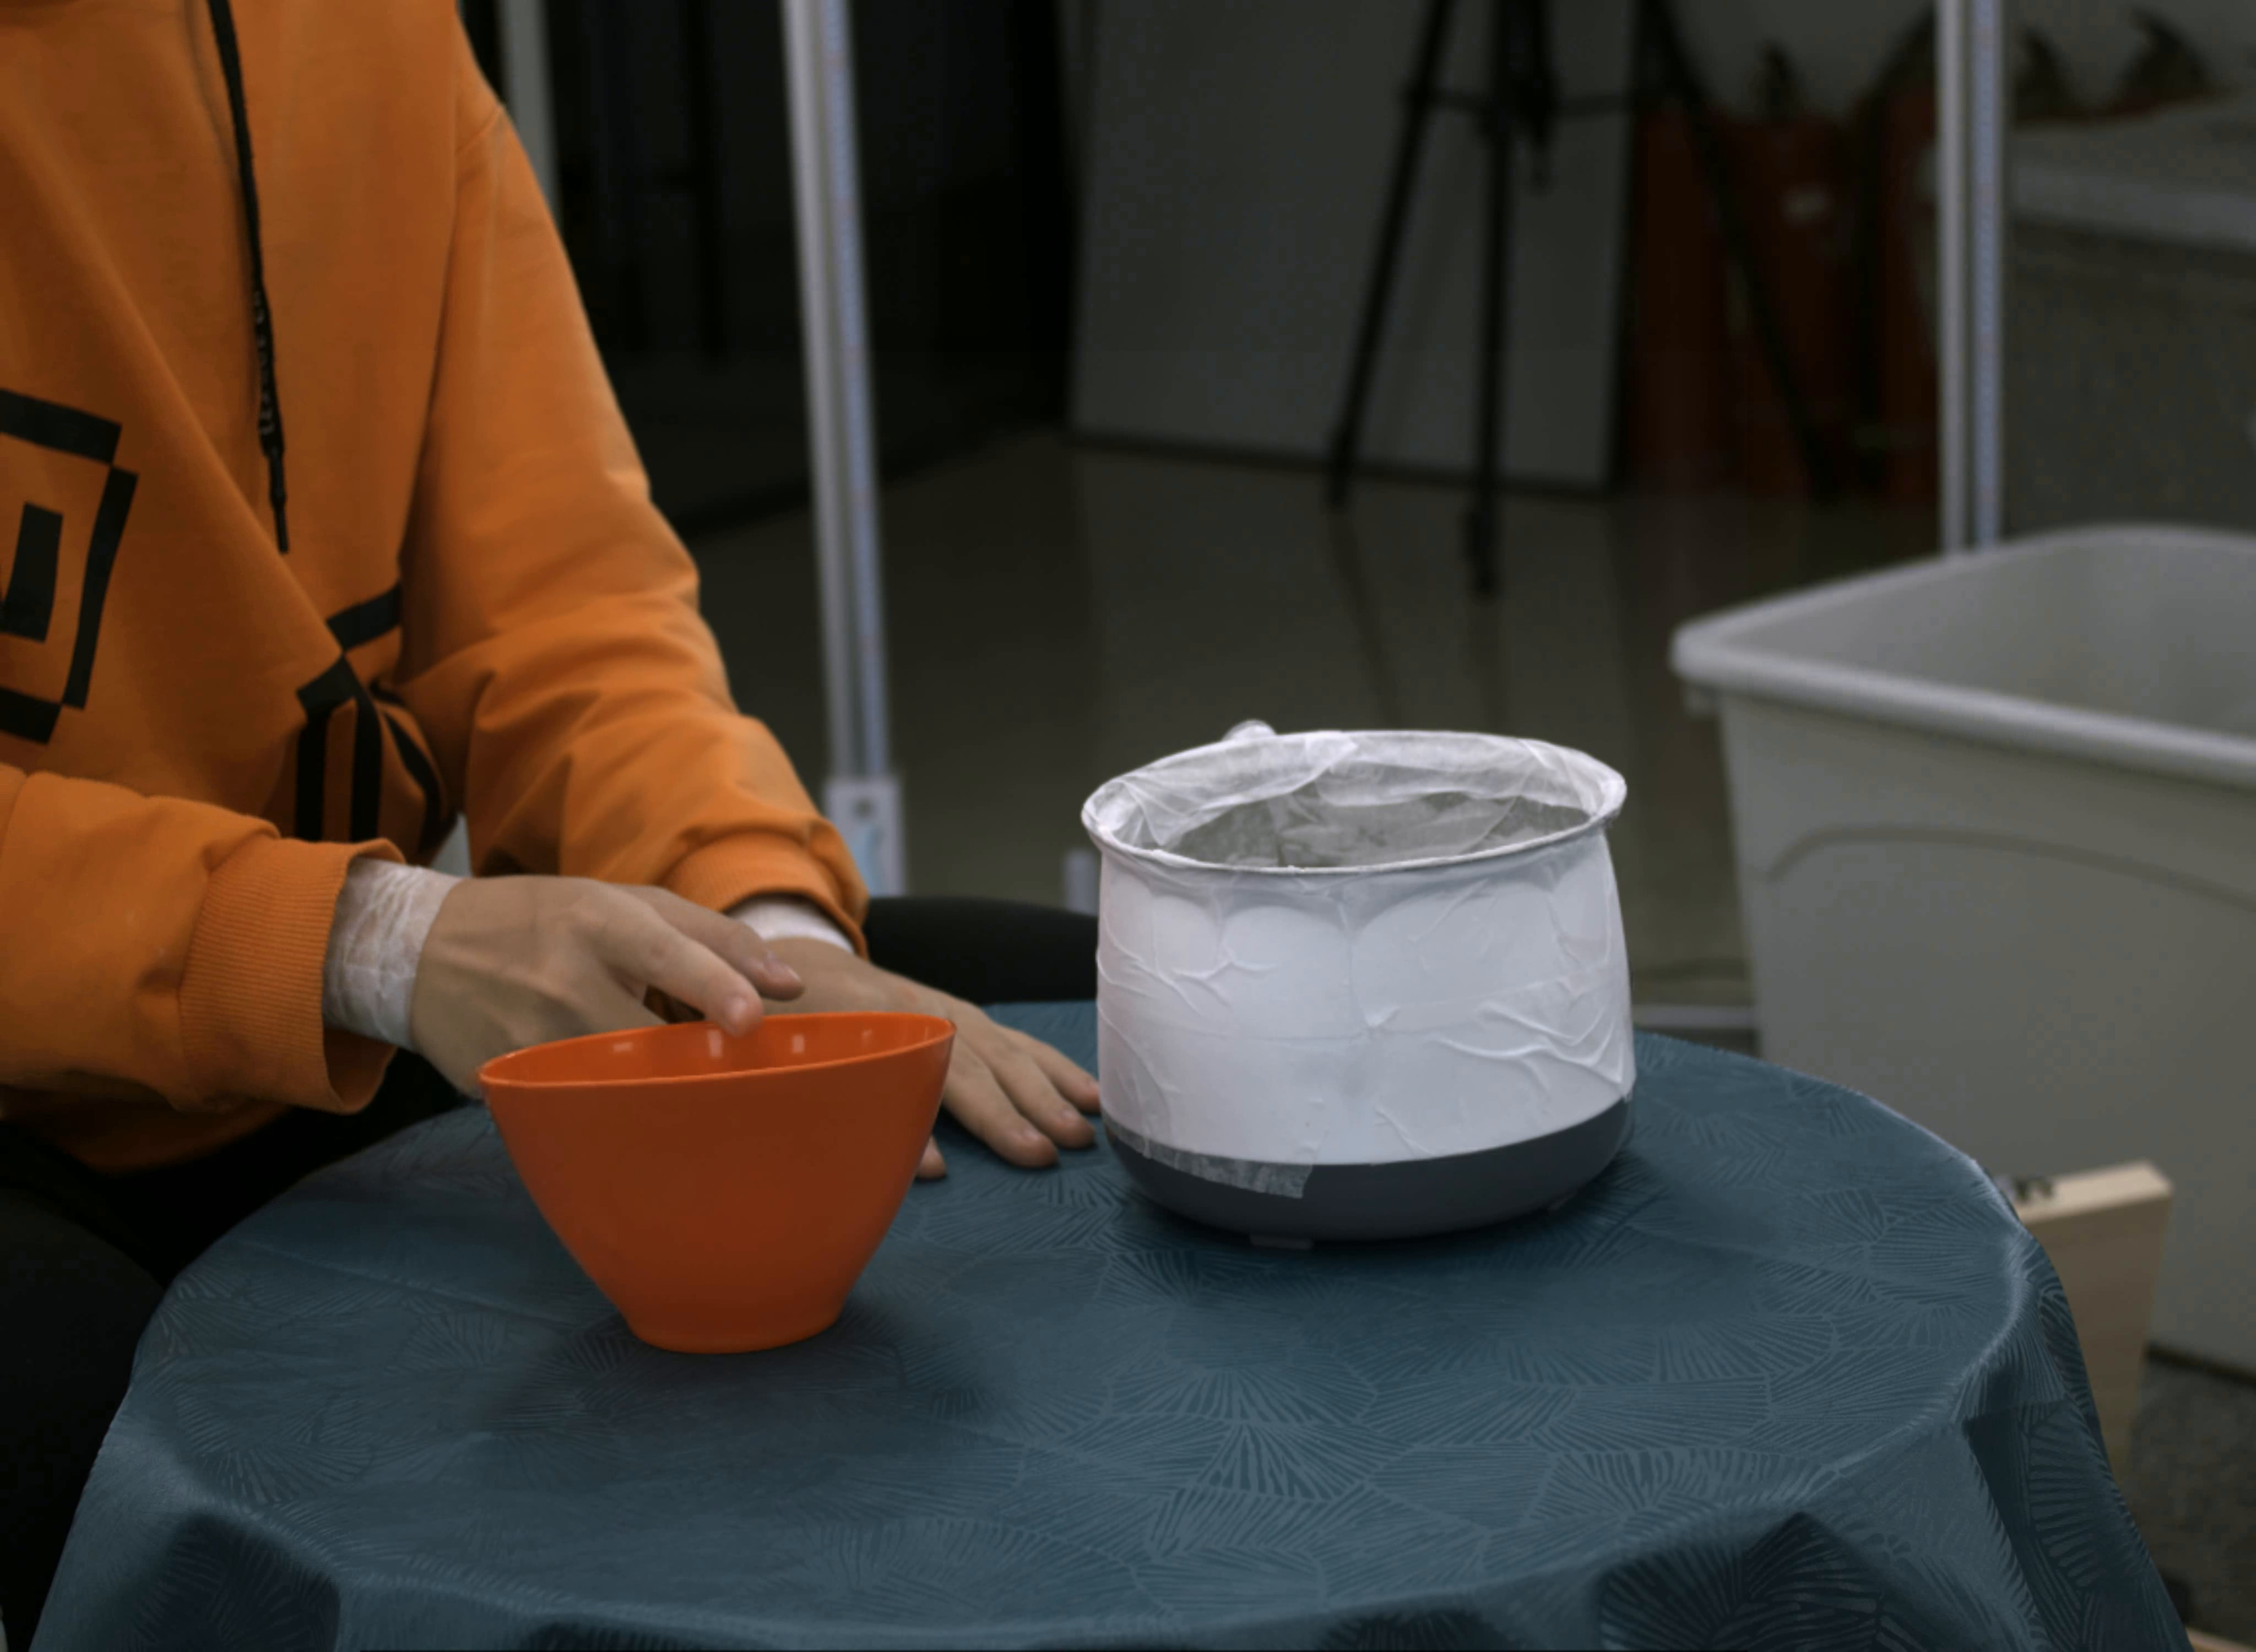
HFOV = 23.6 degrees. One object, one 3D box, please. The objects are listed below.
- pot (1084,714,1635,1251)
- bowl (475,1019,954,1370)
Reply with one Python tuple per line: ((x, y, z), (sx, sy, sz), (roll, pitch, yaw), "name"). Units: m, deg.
((0.067, 0.045, 1.771), (0.175, 0.138, 0.236), (-8, 14, -17), "pot")
((-0.123, 0.109, 1.651), (0.146, 0.106, 0.148), (-4, 13, 0), "bowl")
